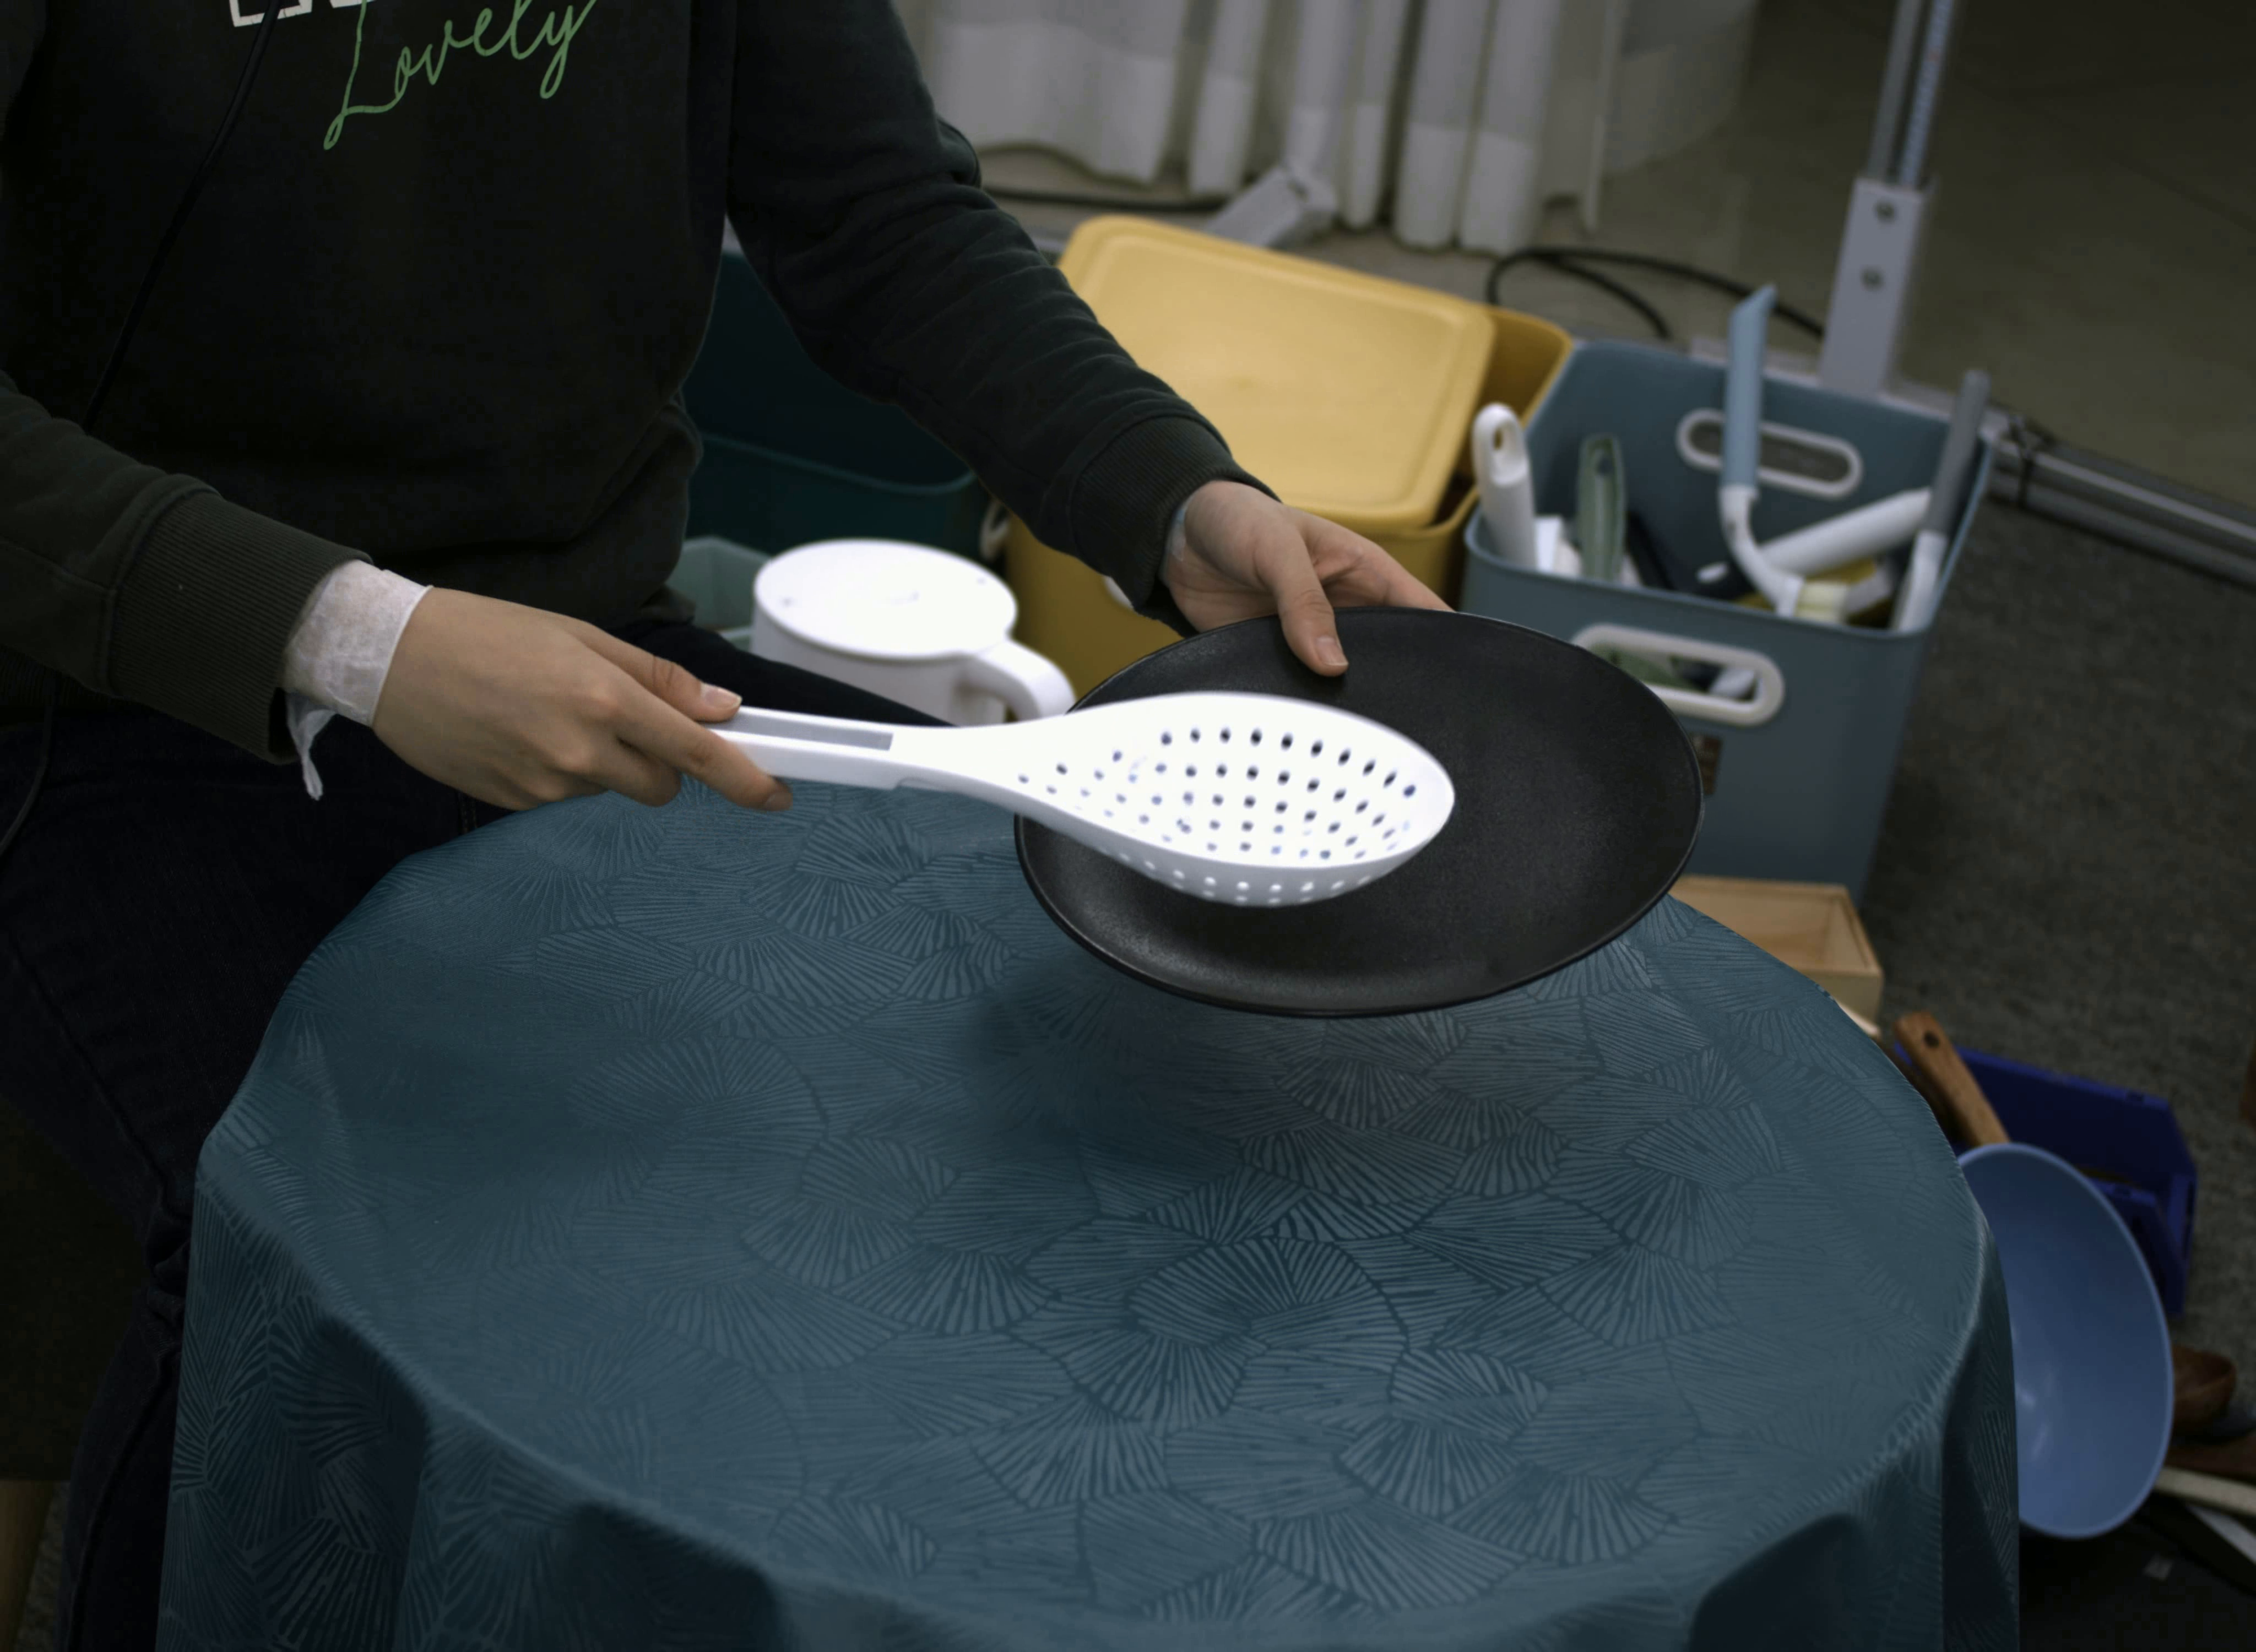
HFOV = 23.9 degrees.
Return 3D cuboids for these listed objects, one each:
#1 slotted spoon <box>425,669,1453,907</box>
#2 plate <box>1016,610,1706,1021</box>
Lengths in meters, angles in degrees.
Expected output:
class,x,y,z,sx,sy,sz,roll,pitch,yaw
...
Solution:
class,x,y,z,sx,sy,sz,roll,pitch,yaw
slotted spoon,-0.065,-0.022,1.806,0.349,0.045,0.136,11,22,0
plate,0.082,-0.001,1.875,0.244,0.023,0.246,-4,36,2
